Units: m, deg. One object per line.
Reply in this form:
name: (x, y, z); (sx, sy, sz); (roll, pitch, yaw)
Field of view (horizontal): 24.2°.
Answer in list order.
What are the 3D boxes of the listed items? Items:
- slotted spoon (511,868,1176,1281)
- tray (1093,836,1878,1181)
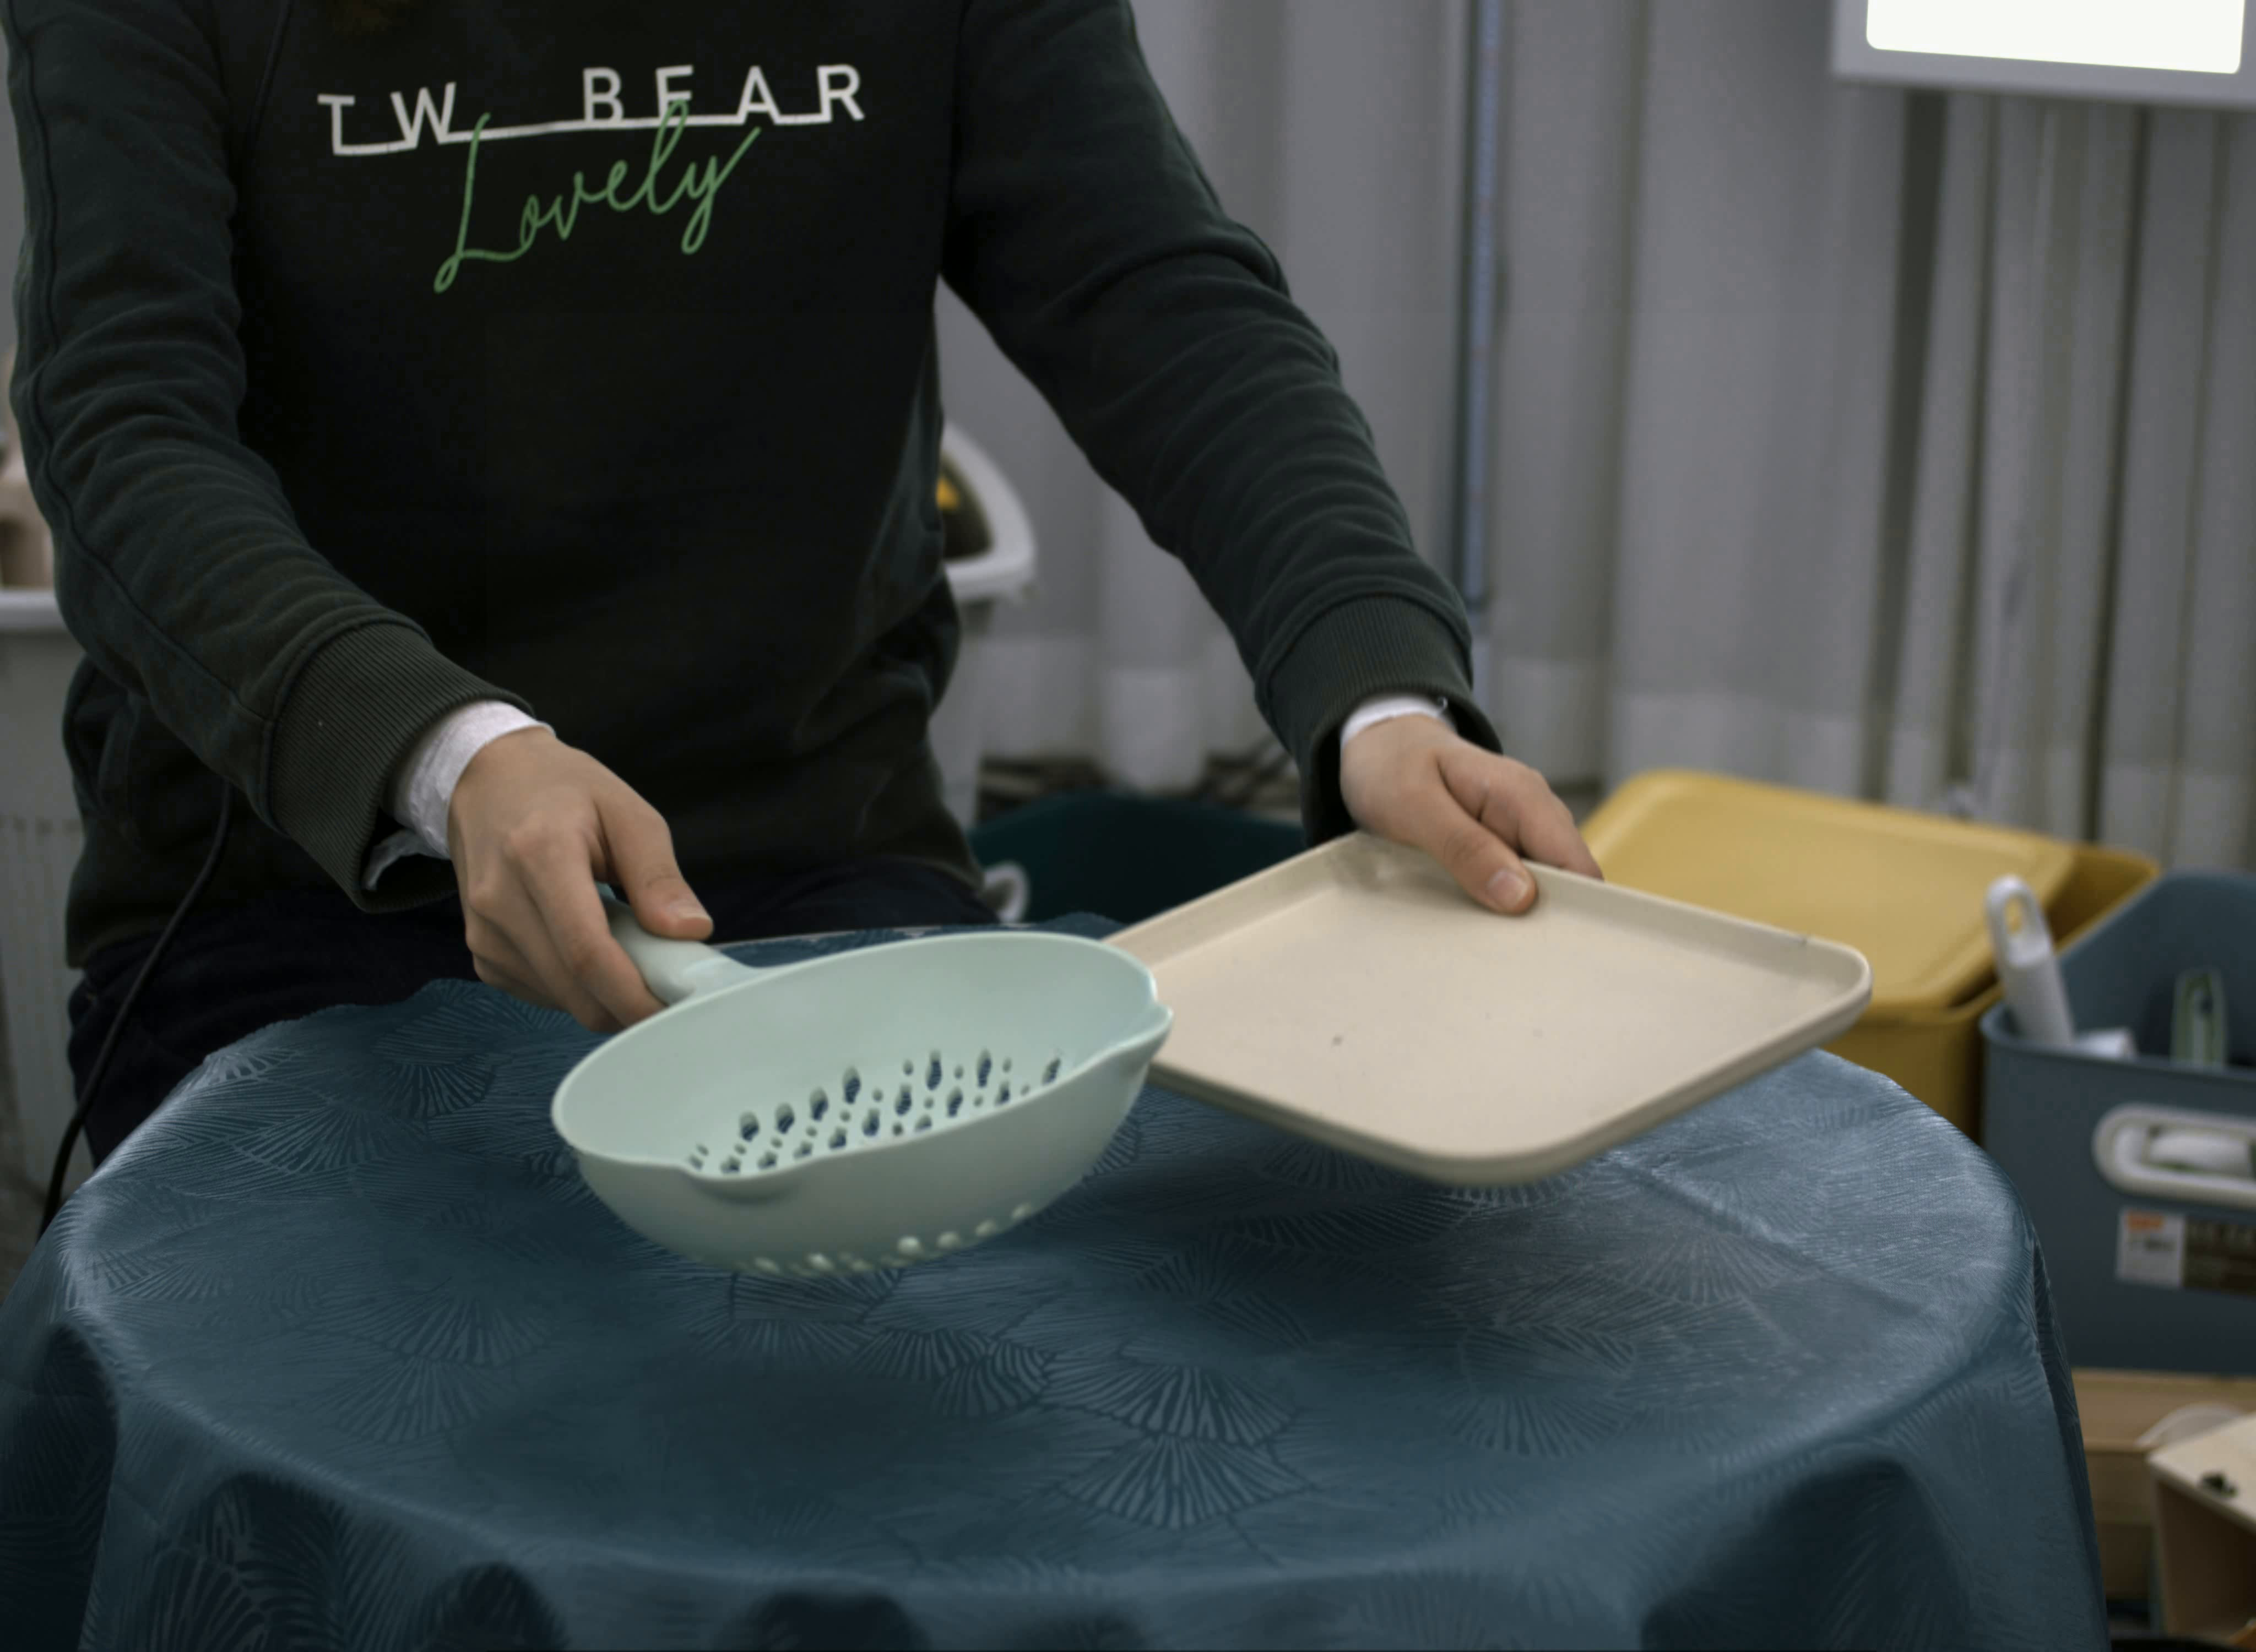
slotted spoon: (-0.115, 0.053, 1.519); (0.169, 0.076, 0.354); (-18, 26, -22)
tray: (0.092, 0.053, 1.569); (0.172, 0.017, 0.236); (-23, 23, -34)
